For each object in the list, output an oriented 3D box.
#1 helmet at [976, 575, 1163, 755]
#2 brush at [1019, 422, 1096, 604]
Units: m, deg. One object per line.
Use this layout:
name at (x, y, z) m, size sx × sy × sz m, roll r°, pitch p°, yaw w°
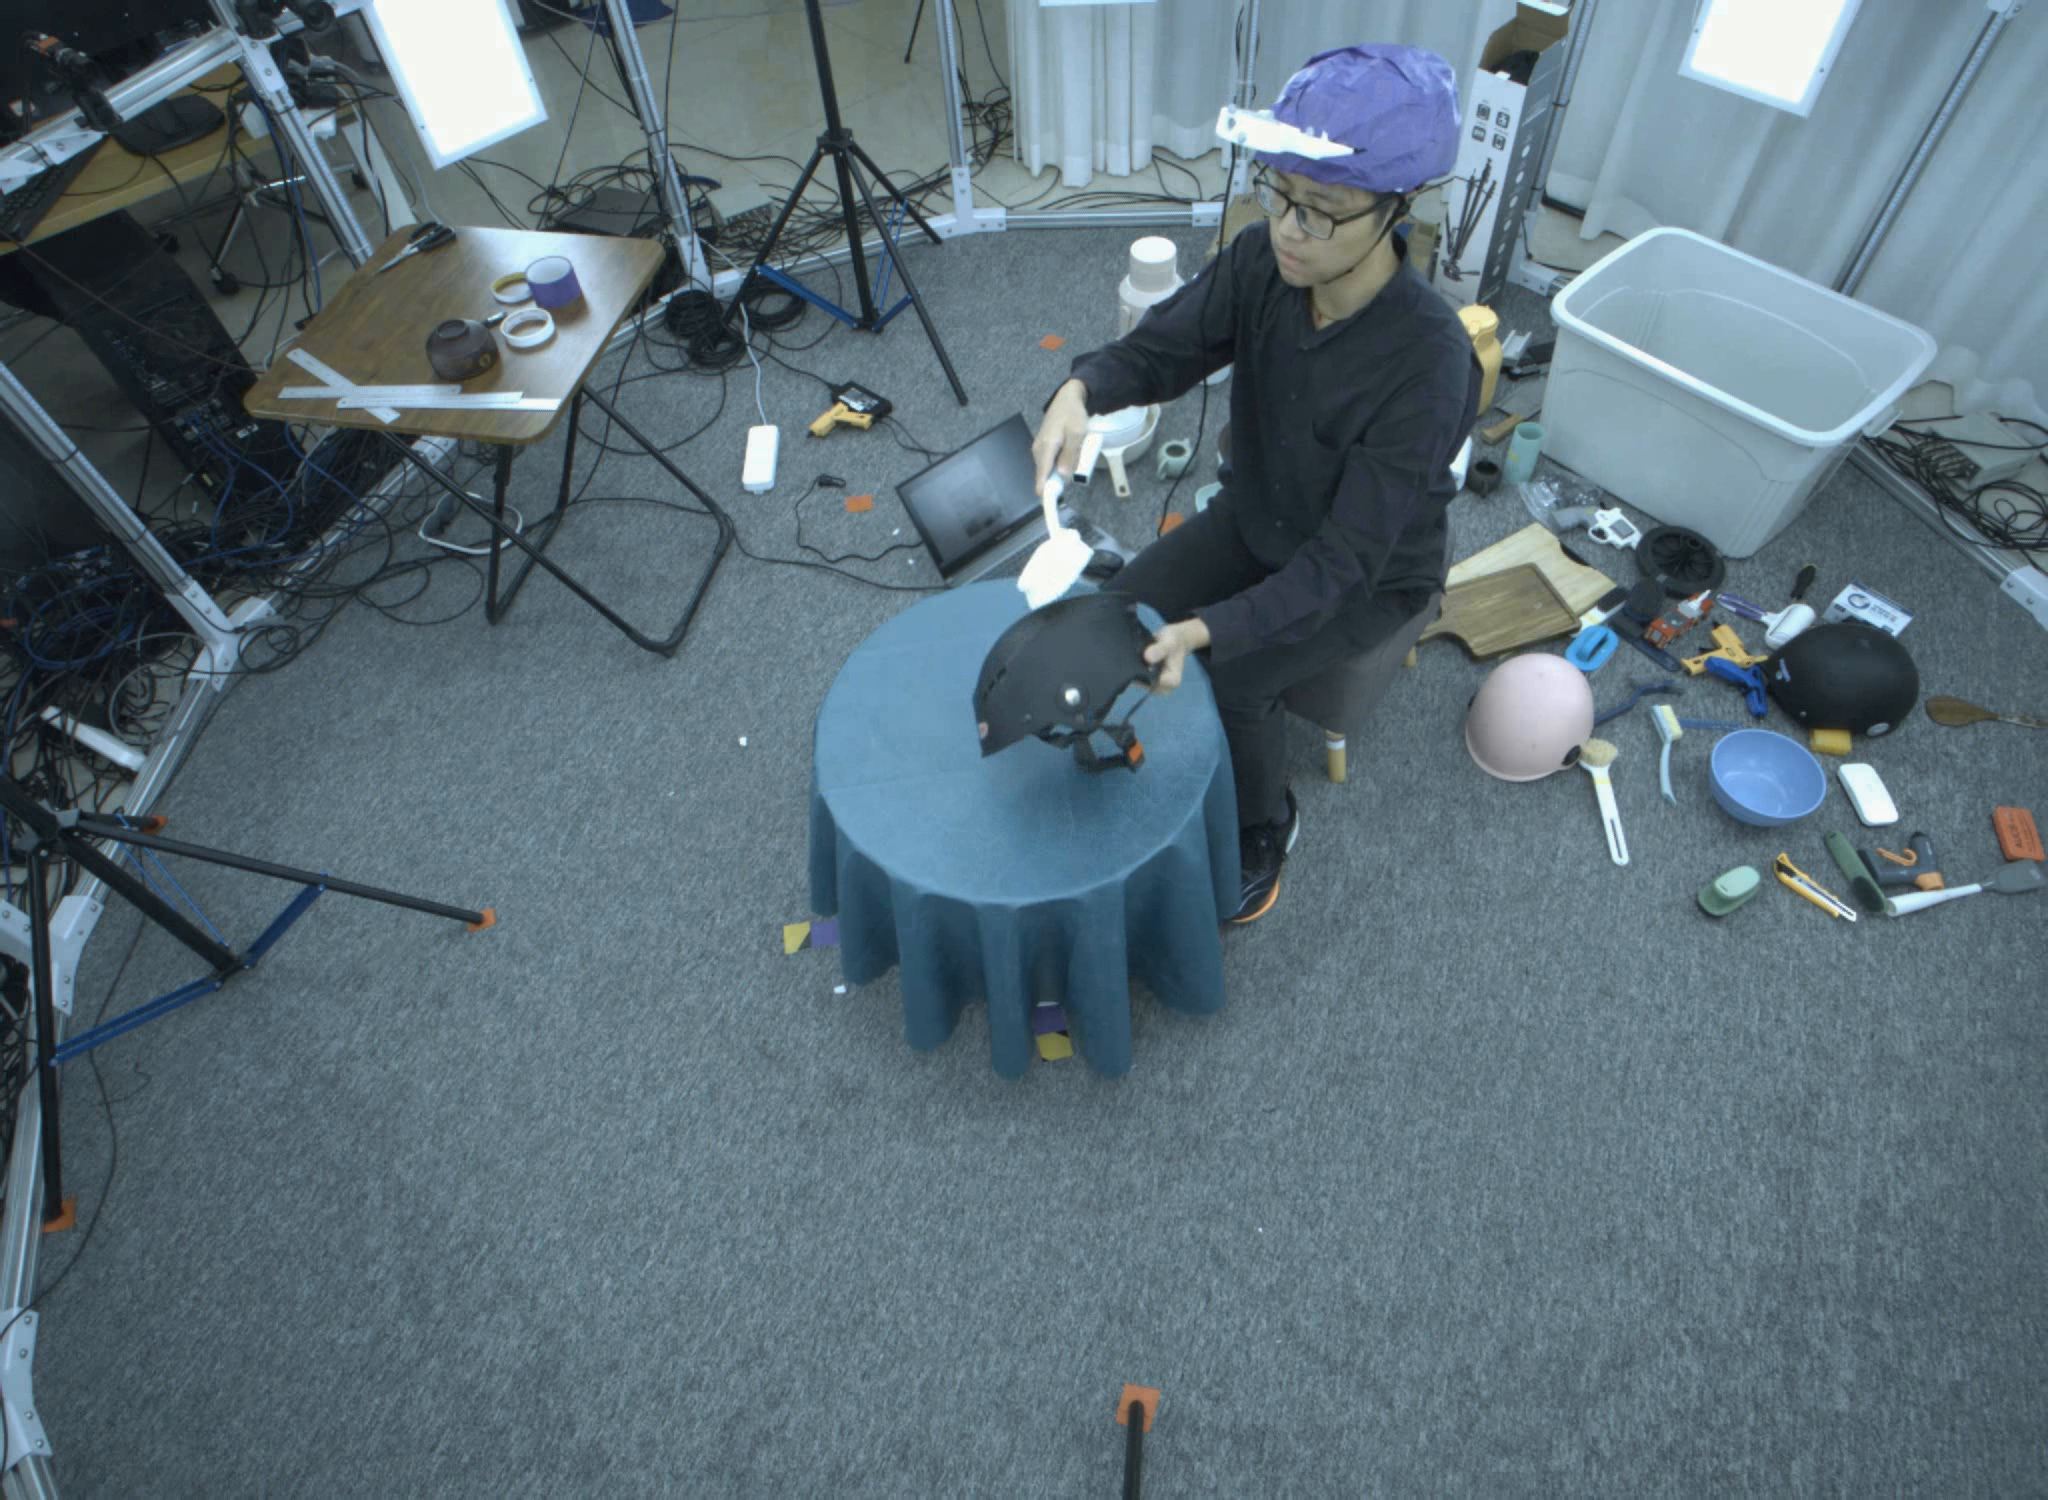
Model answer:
helmet at (0.046, -0.116, 1.622) m, size 0.278 × 0.244 × 0.173 m, roll -30°, pitch 93°, yaw -12°
brush at (0.065, -0.314, 1.634) m, size 0.082 × 0.085 × 0.324 m, roll 9°, pitch 56°, yaw 11°
